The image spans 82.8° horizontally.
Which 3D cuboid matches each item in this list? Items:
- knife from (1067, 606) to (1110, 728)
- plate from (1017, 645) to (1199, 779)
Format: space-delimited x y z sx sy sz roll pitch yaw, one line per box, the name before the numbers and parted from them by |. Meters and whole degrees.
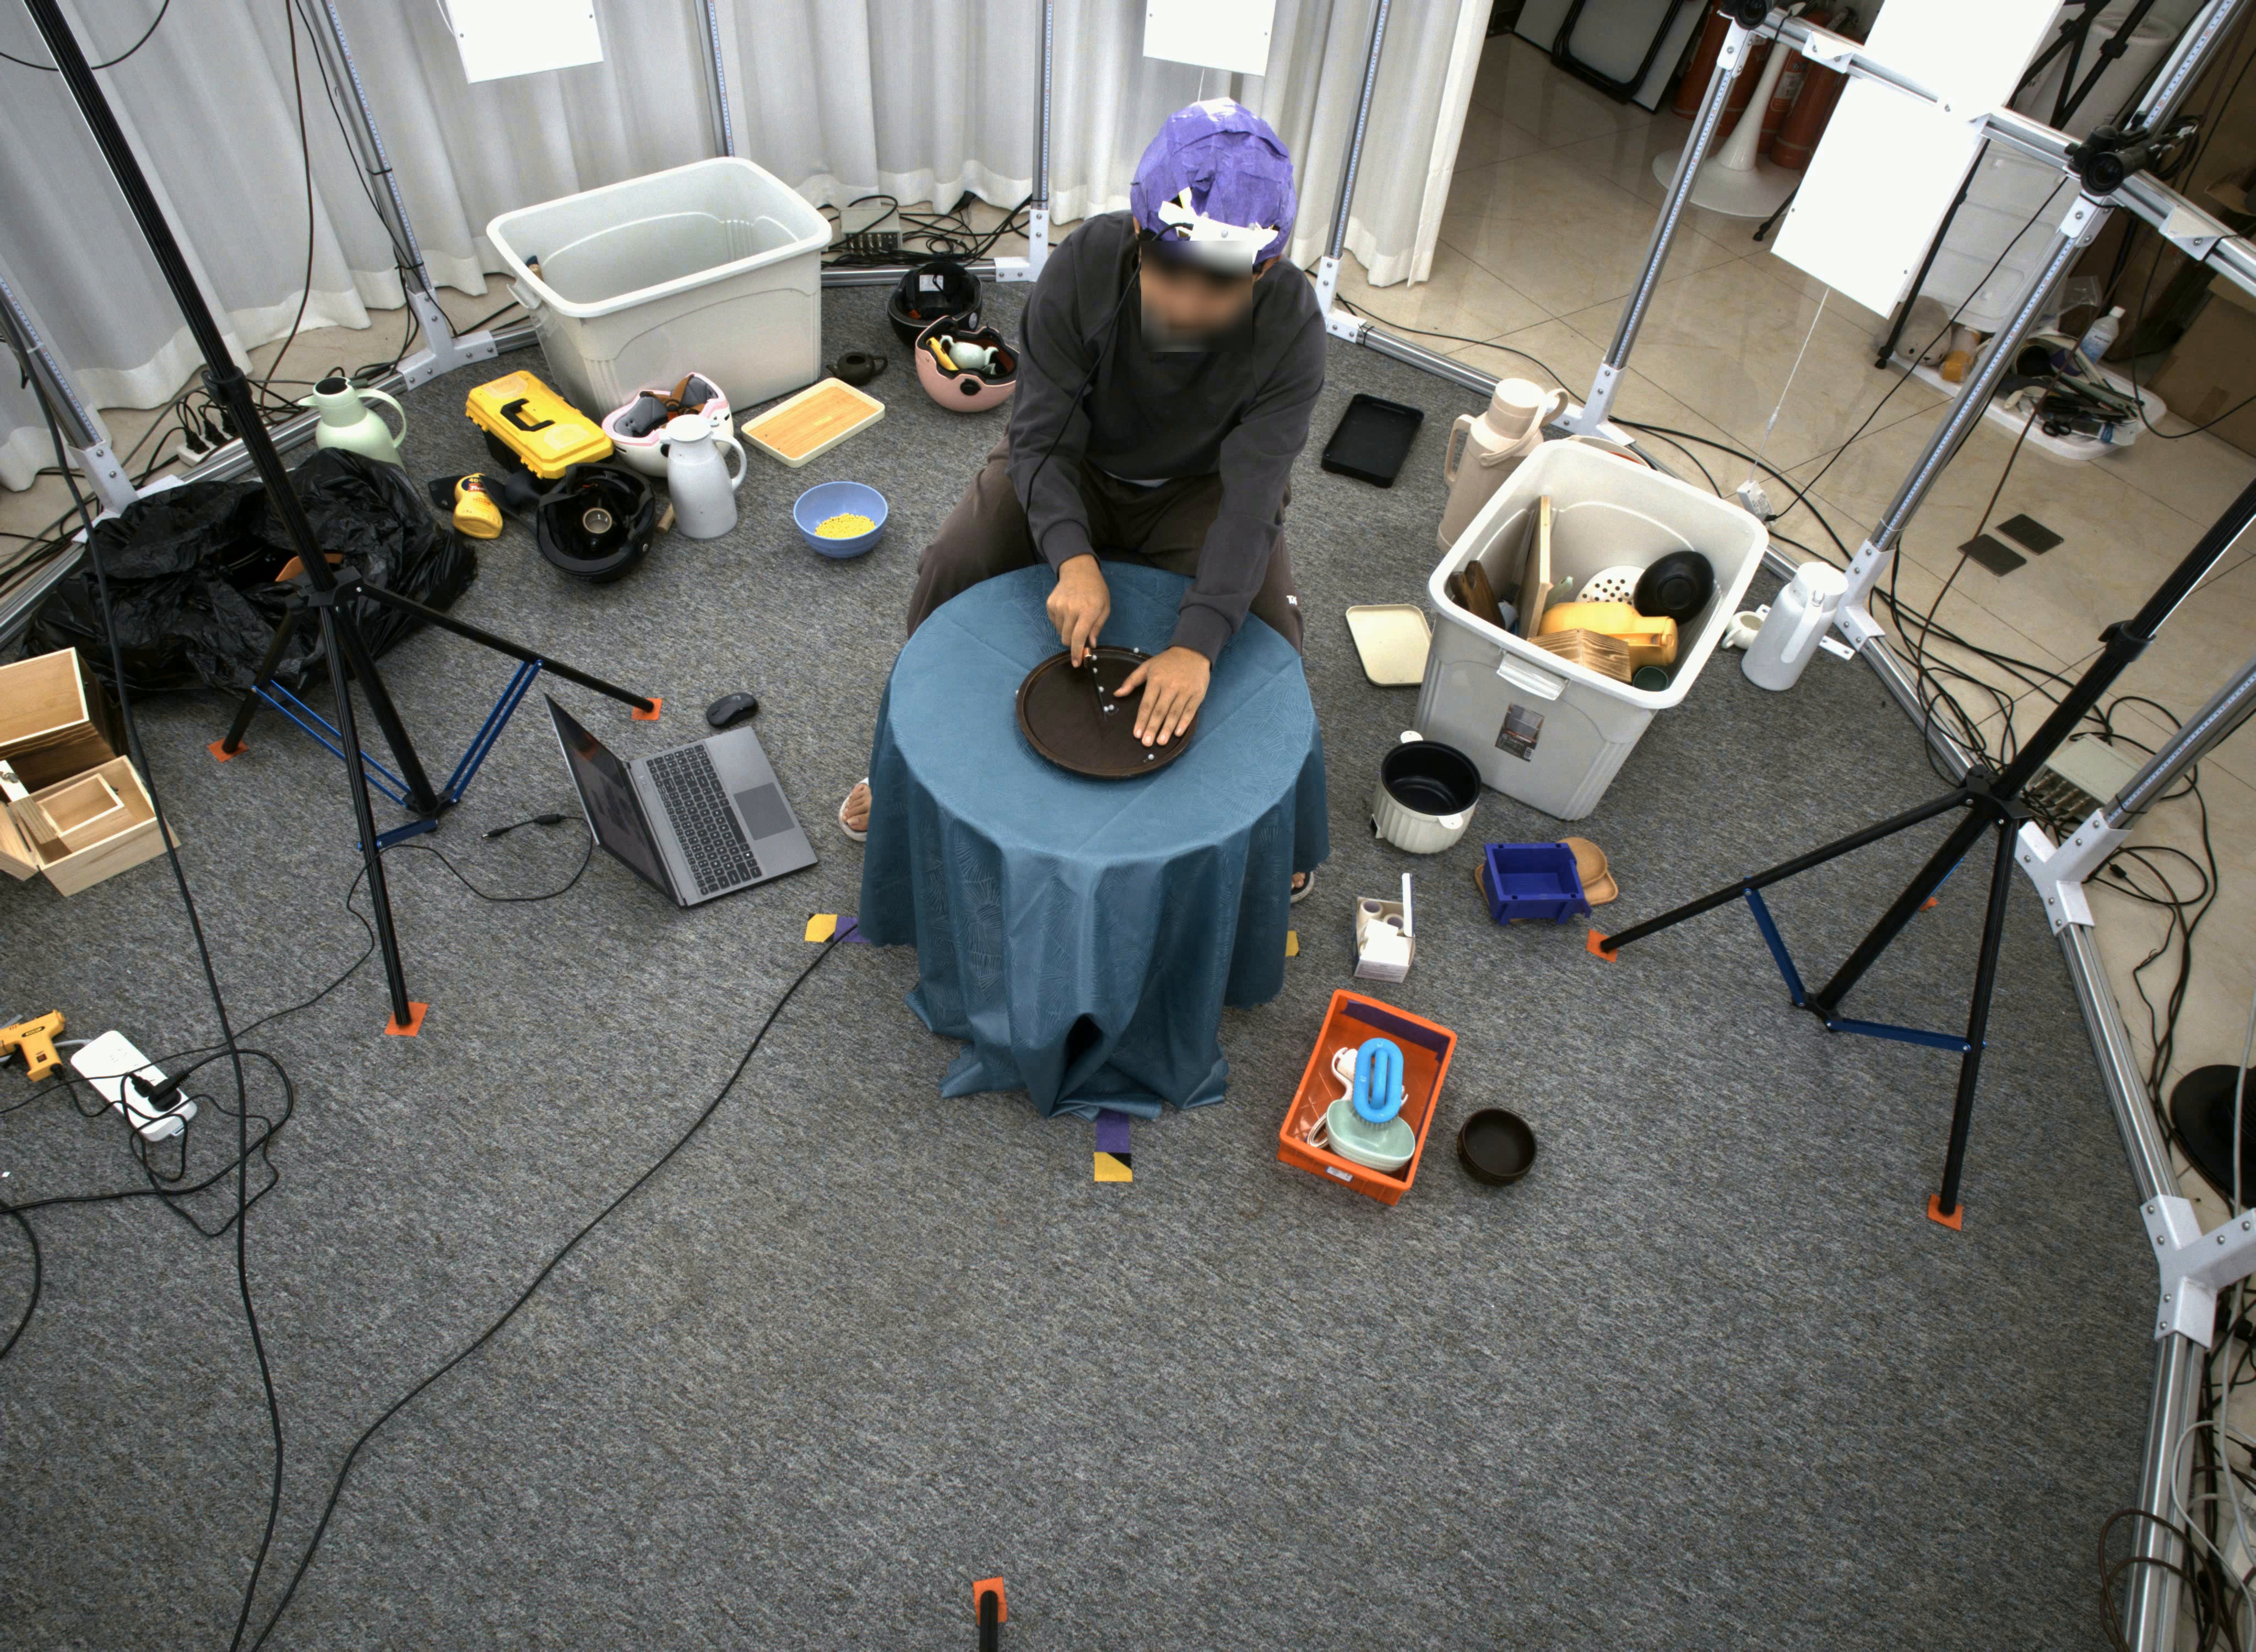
knife | -0.055 -0.227 1.807 0.017 0.025 0.231 -9 53 -12
plate | -0.028 -0.160 1.787 0.254 0.028 0.261 2 48 -2
